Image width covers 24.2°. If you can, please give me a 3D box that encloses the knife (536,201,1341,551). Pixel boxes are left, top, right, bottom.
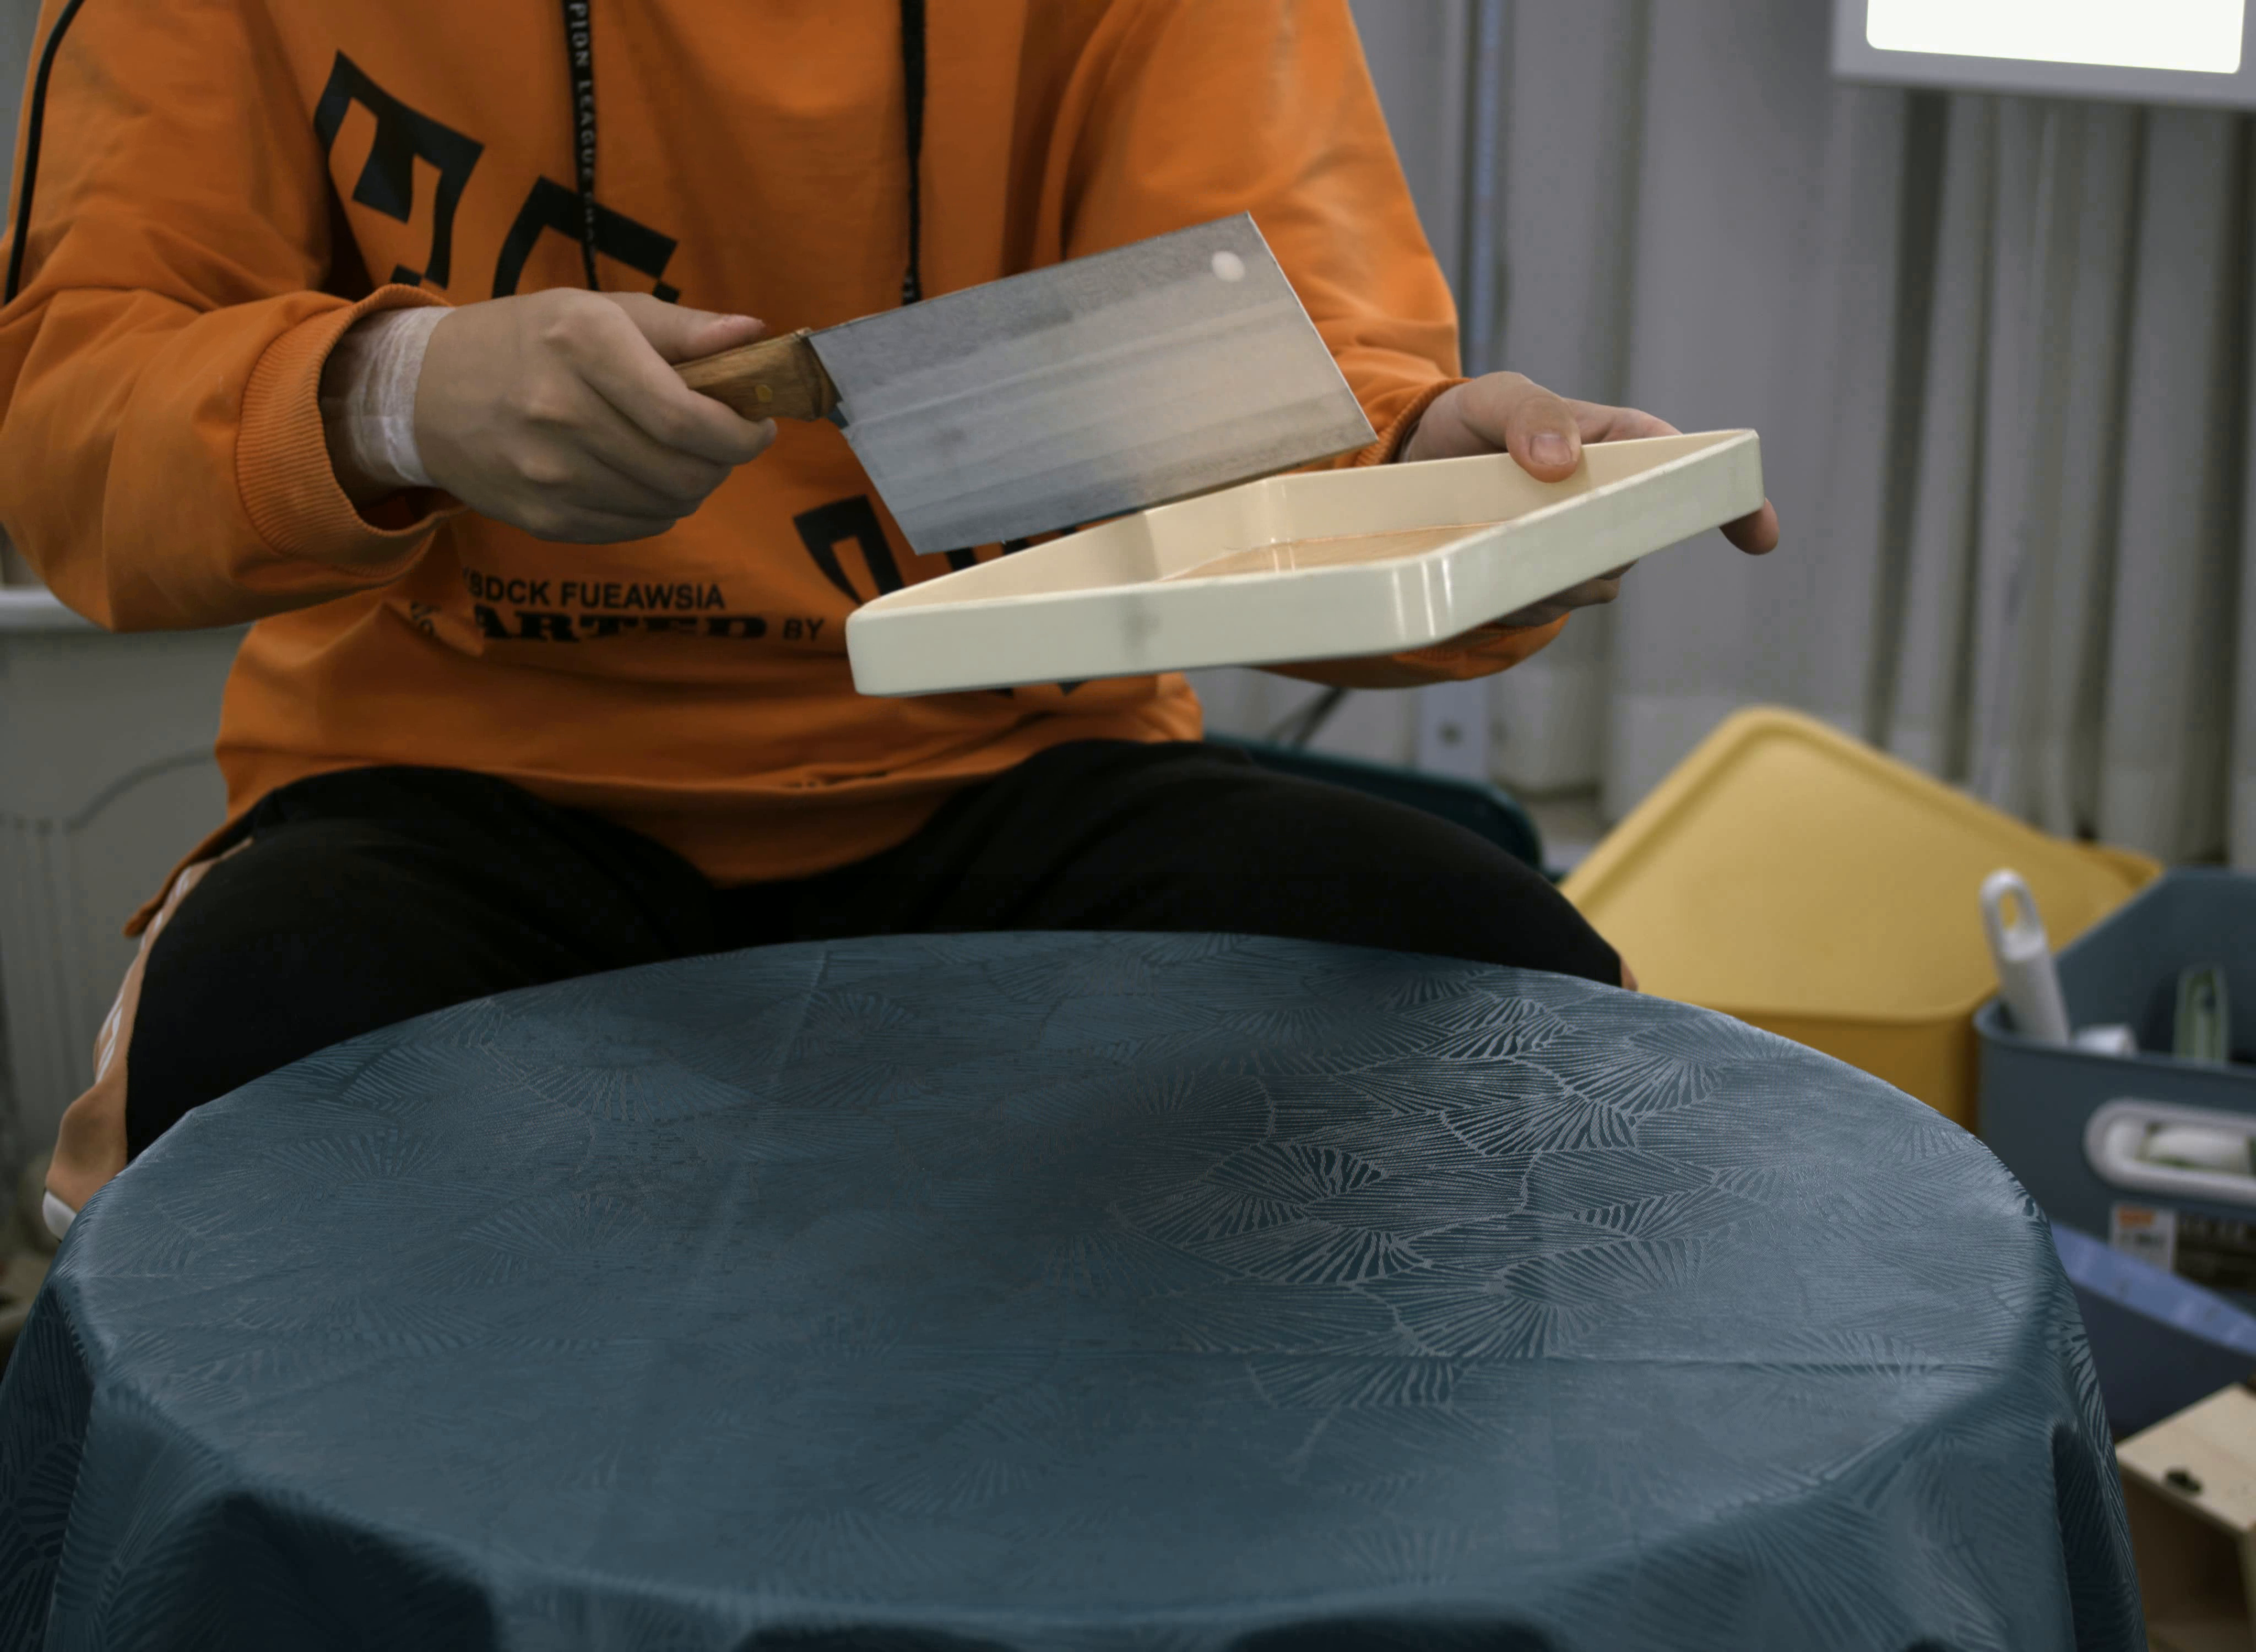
[{"bbox_3d":[-0.063,-0.132,1.705,0.303,0.094,0.021,-12,33,36],"label":"knife"}]

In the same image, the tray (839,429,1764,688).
[{"bbox_3d":[0.060,-0.083,1.597,0.190,0.027,0.301,-3,9,26],"label":"tray"}]
